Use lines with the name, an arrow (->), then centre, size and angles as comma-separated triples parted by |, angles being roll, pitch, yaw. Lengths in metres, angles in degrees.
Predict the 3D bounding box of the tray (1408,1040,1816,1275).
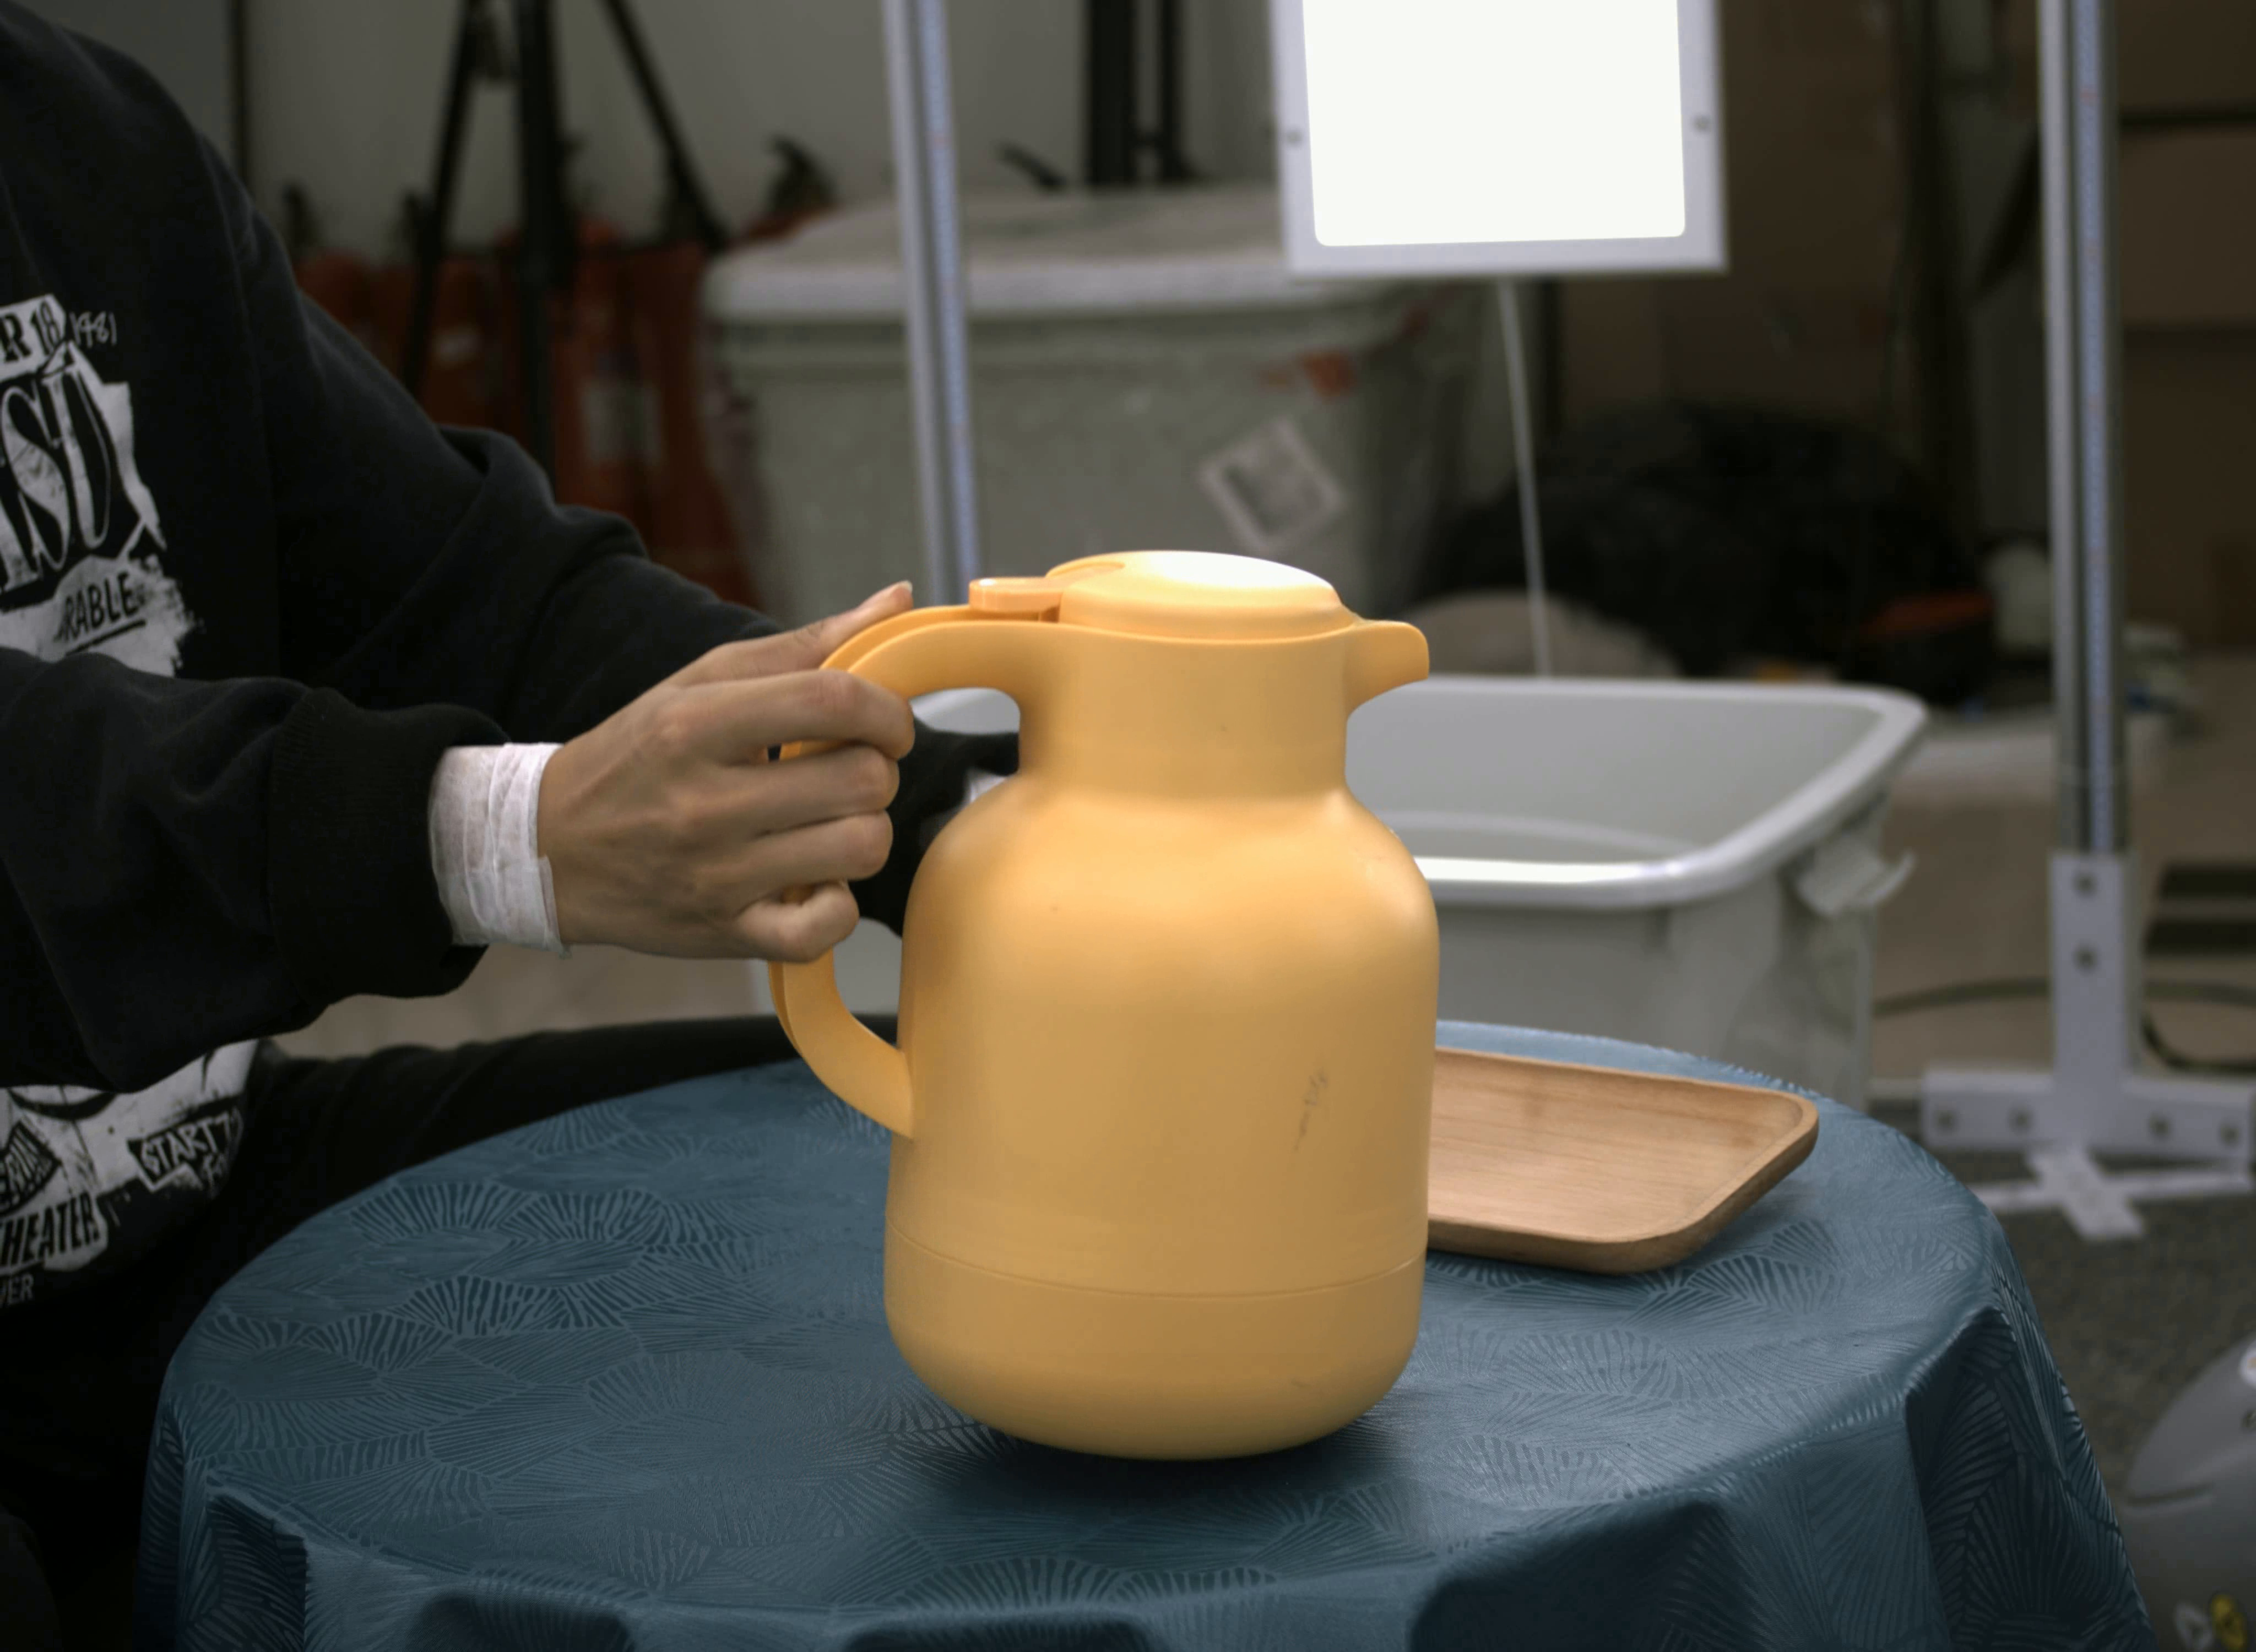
tray -> 0.105, 0.108, 1.869 | 0.256, 0.023, 0.127 | 5, 23, 39

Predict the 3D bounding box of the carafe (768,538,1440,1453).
carafe -> -0.008, 0.045, 1.631 | 0.200, 0.261, 0.164 | 2, 9, -11
